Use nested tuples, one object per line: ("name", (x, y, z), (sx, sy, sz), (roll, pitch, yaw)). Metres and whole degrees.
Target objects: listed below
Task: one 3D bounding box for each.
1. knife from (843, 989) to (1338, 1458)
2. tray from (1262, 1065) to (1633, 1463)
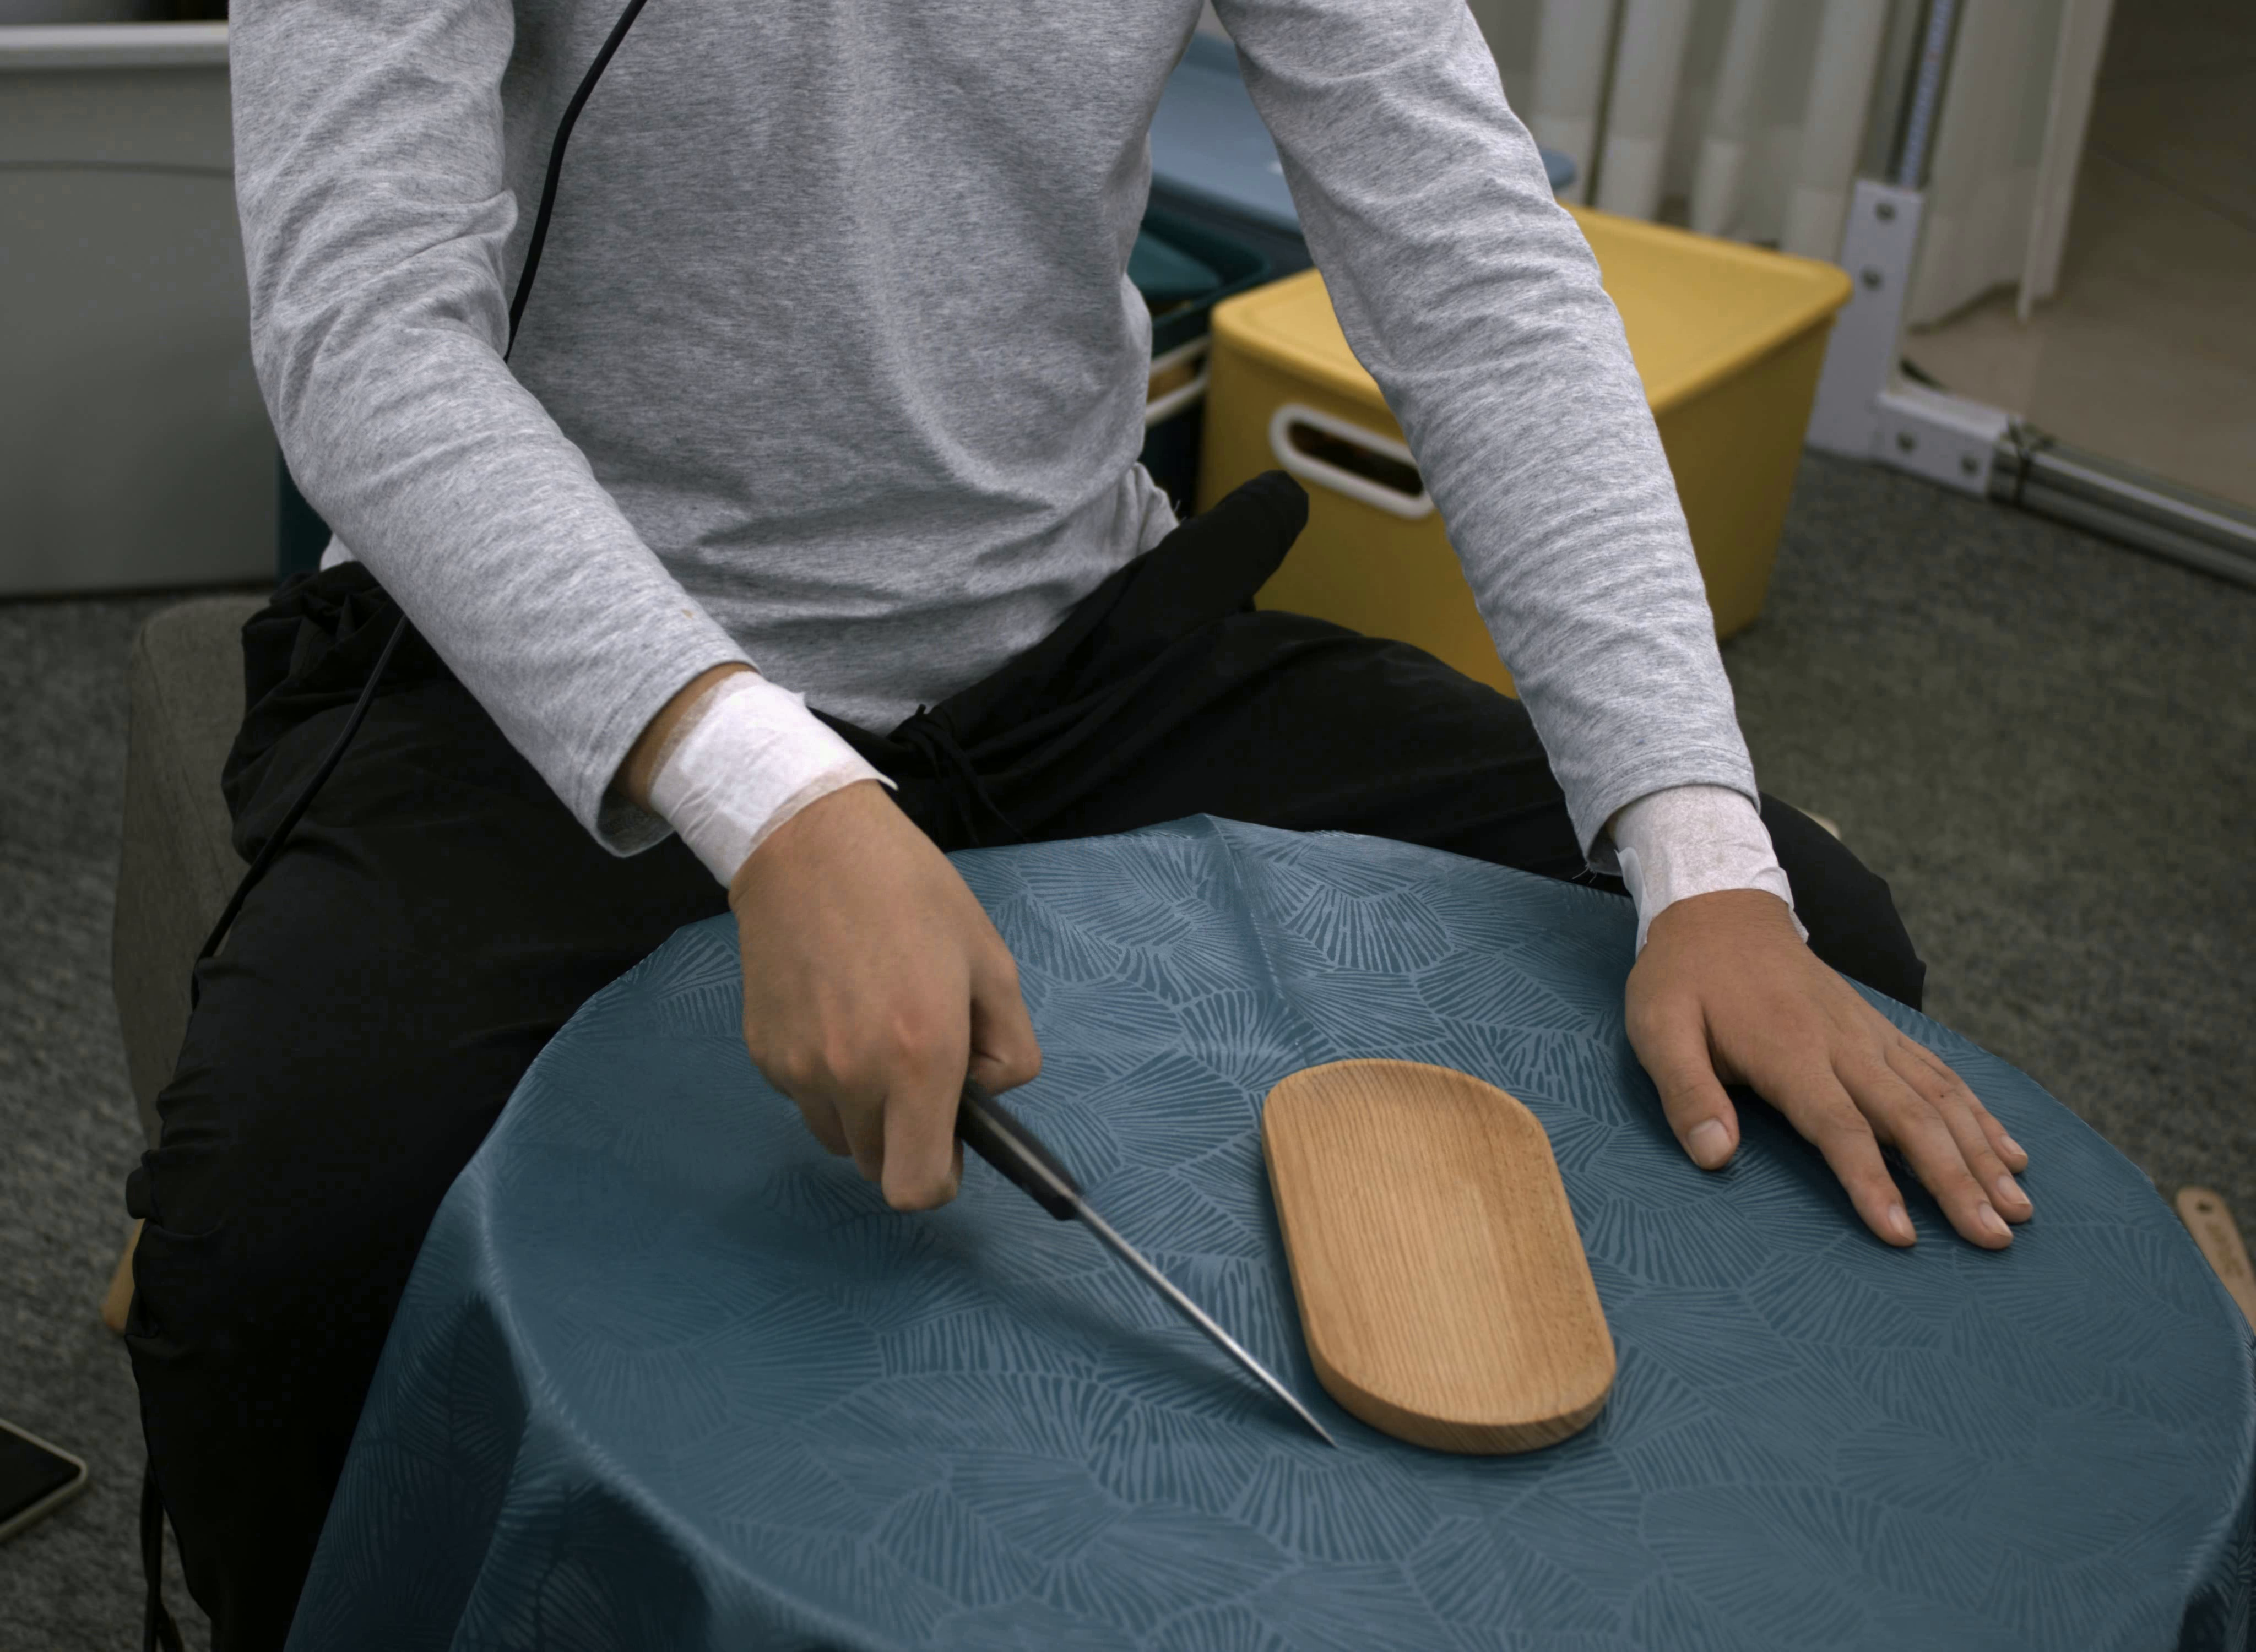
("knife", (-0.013, 0.127, 1.732), (0.016, 0.024, 0.240), (-38, 61, -19))
("tray", (0.104, 0.143, 1.774), (0.101, 0.020, 0.233), (1, 28, -8))
